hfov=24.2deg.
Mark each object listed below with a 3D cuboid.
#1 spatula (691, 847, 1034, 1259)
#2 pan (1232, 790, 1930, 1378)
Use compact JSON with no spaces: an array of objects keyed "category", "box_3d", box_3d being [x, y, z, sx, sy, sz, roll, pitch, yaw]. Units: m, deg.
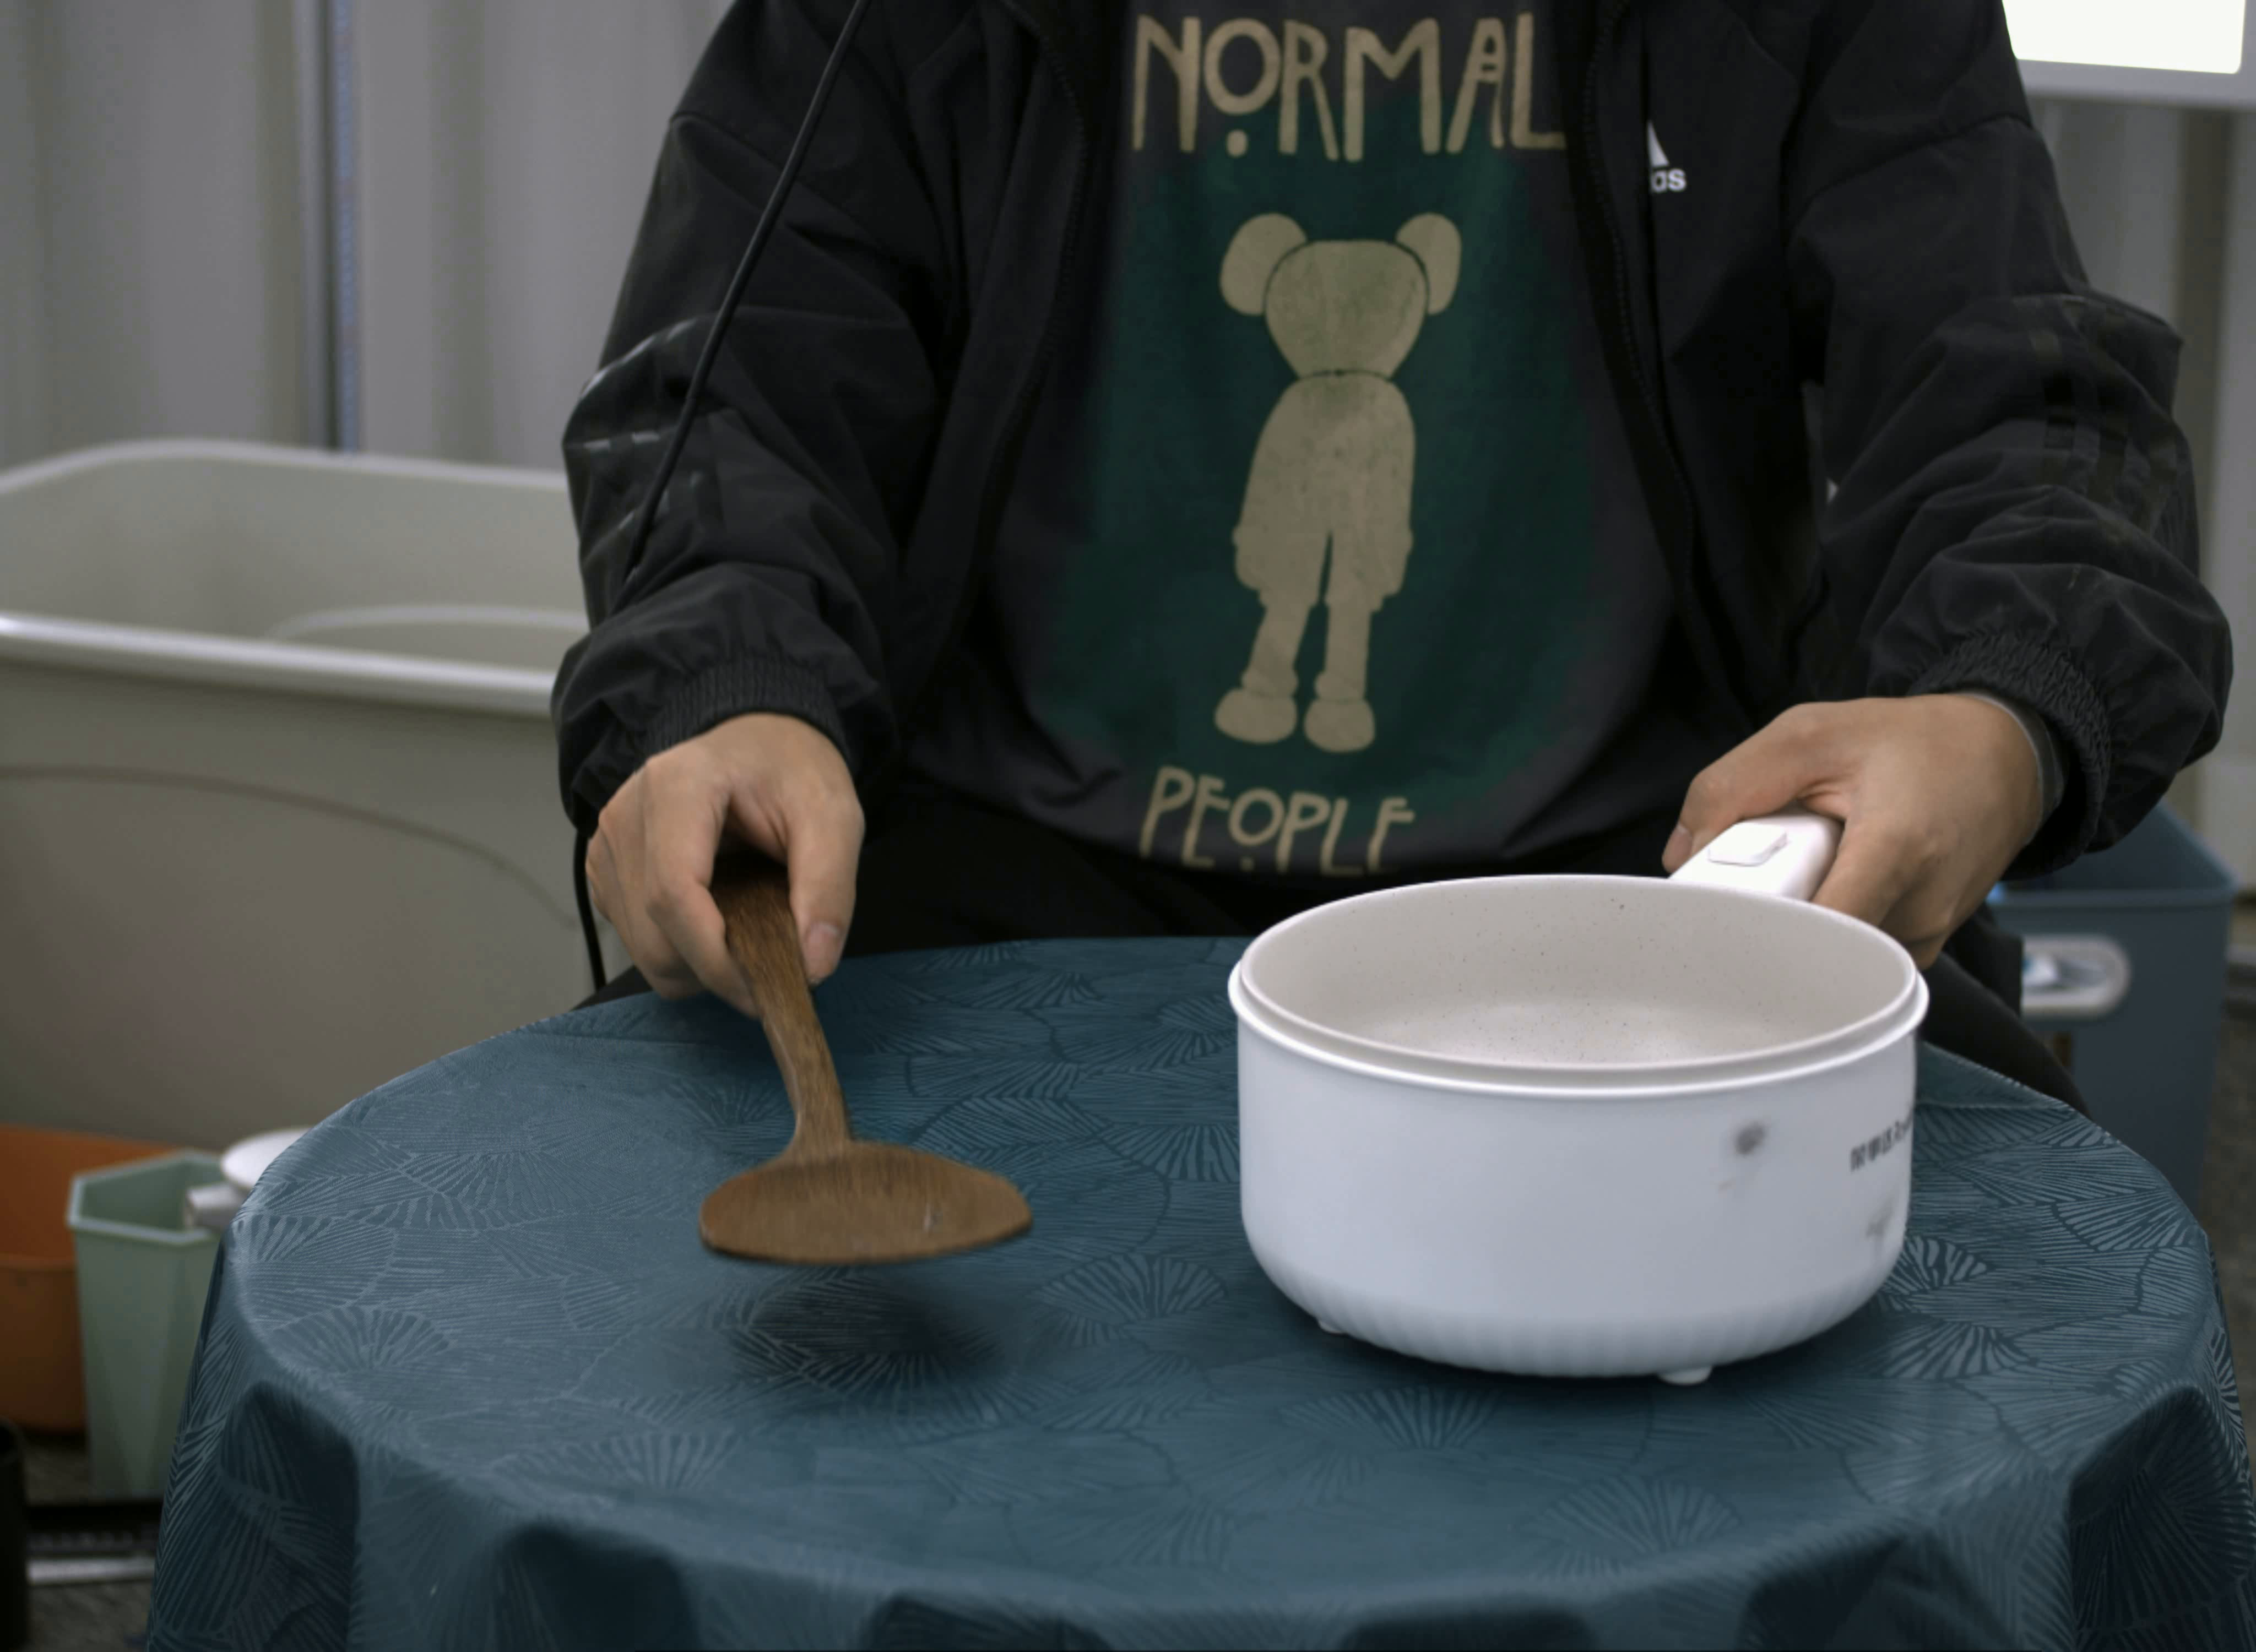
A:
[{"category":"spatula","box_3d":[-0.103,0.063,1.630,0.096,0.016,0.382,-4,18,-10]},{"category":"pan","box_3d":[0.162,0.072,1.593,0.199,0.103,0.355,5,14,23]}]
